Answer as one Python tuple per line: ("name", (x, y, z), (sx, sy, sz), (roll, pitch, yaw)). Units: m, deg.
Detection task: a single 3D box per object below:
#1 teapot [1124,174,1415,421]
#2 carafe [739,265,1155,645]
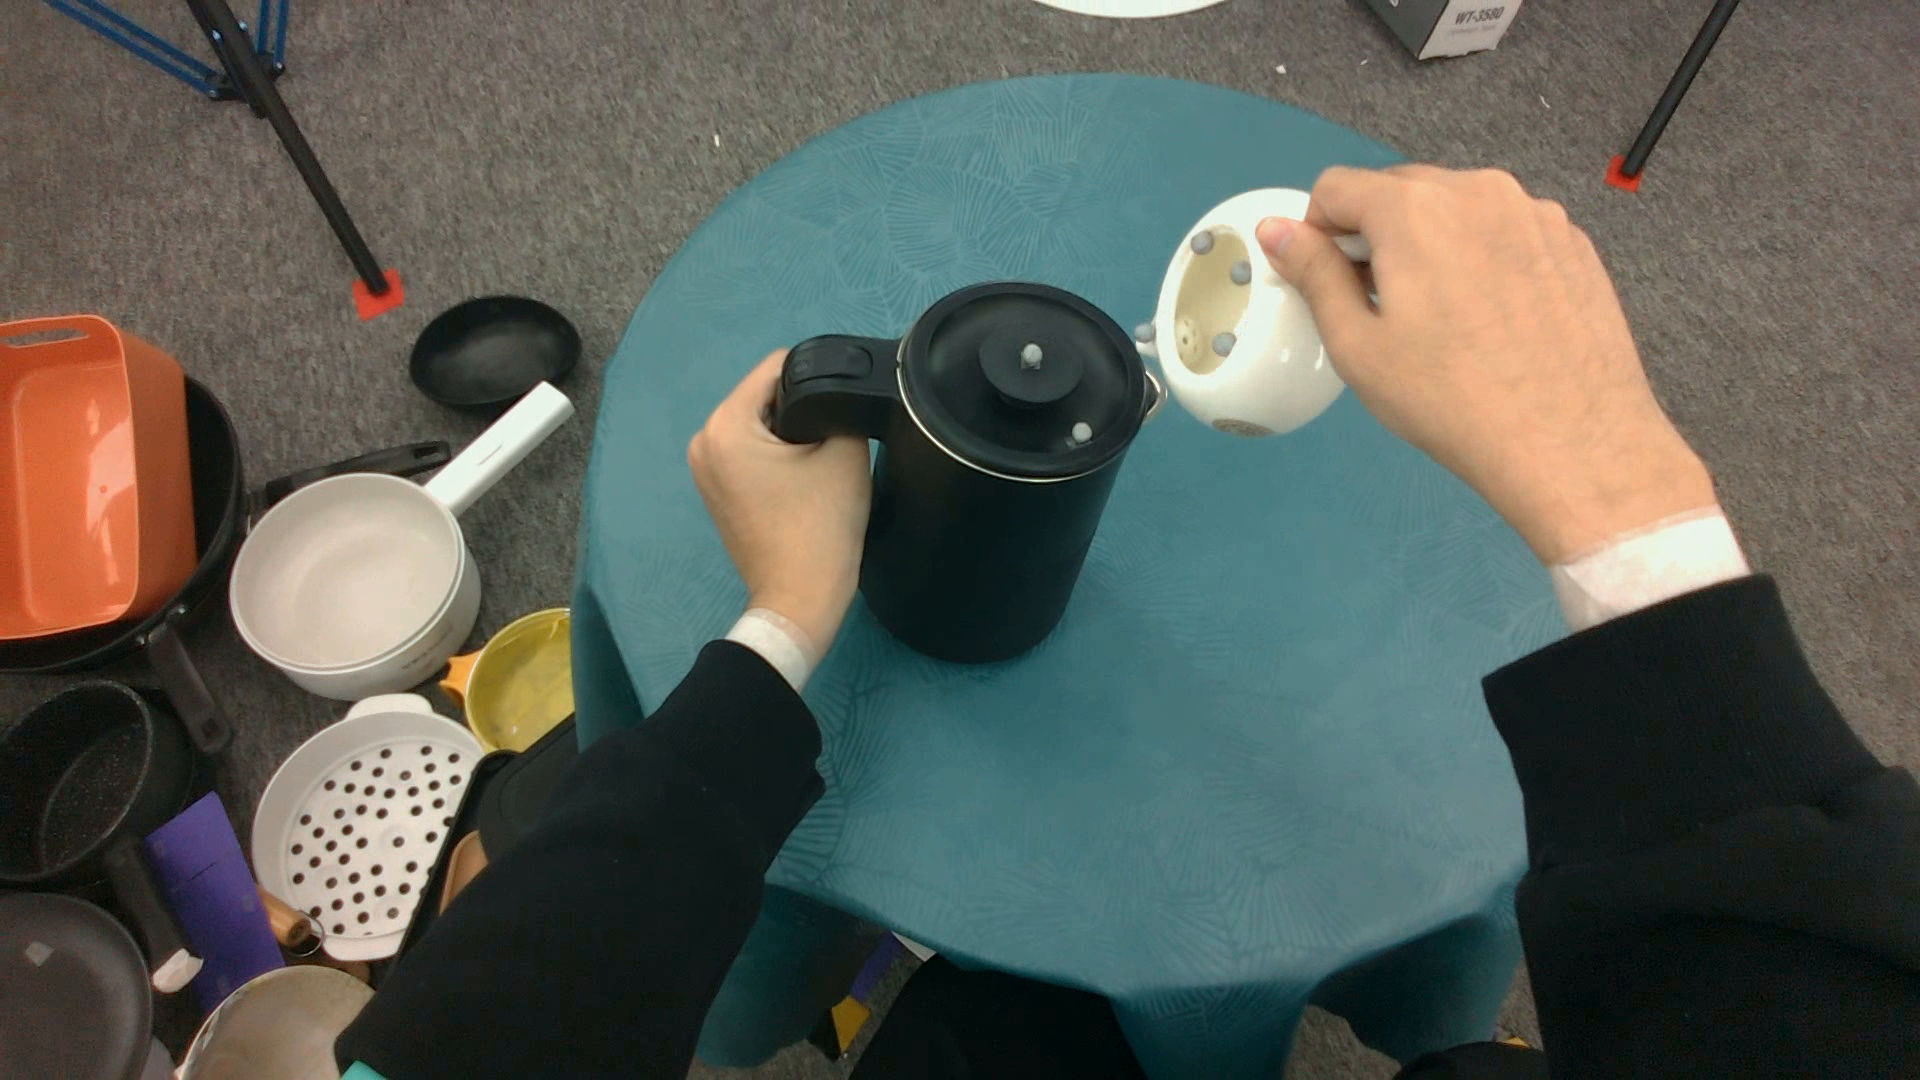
("teapot", (0.114, -0.095, 0.517), (0.057, 0.127, 0.094), (8, 71, -24))
("carafe", (-0.014, -0.039, 0.642), (0.172, 0.172, 0.115), (5, 58, -11))
